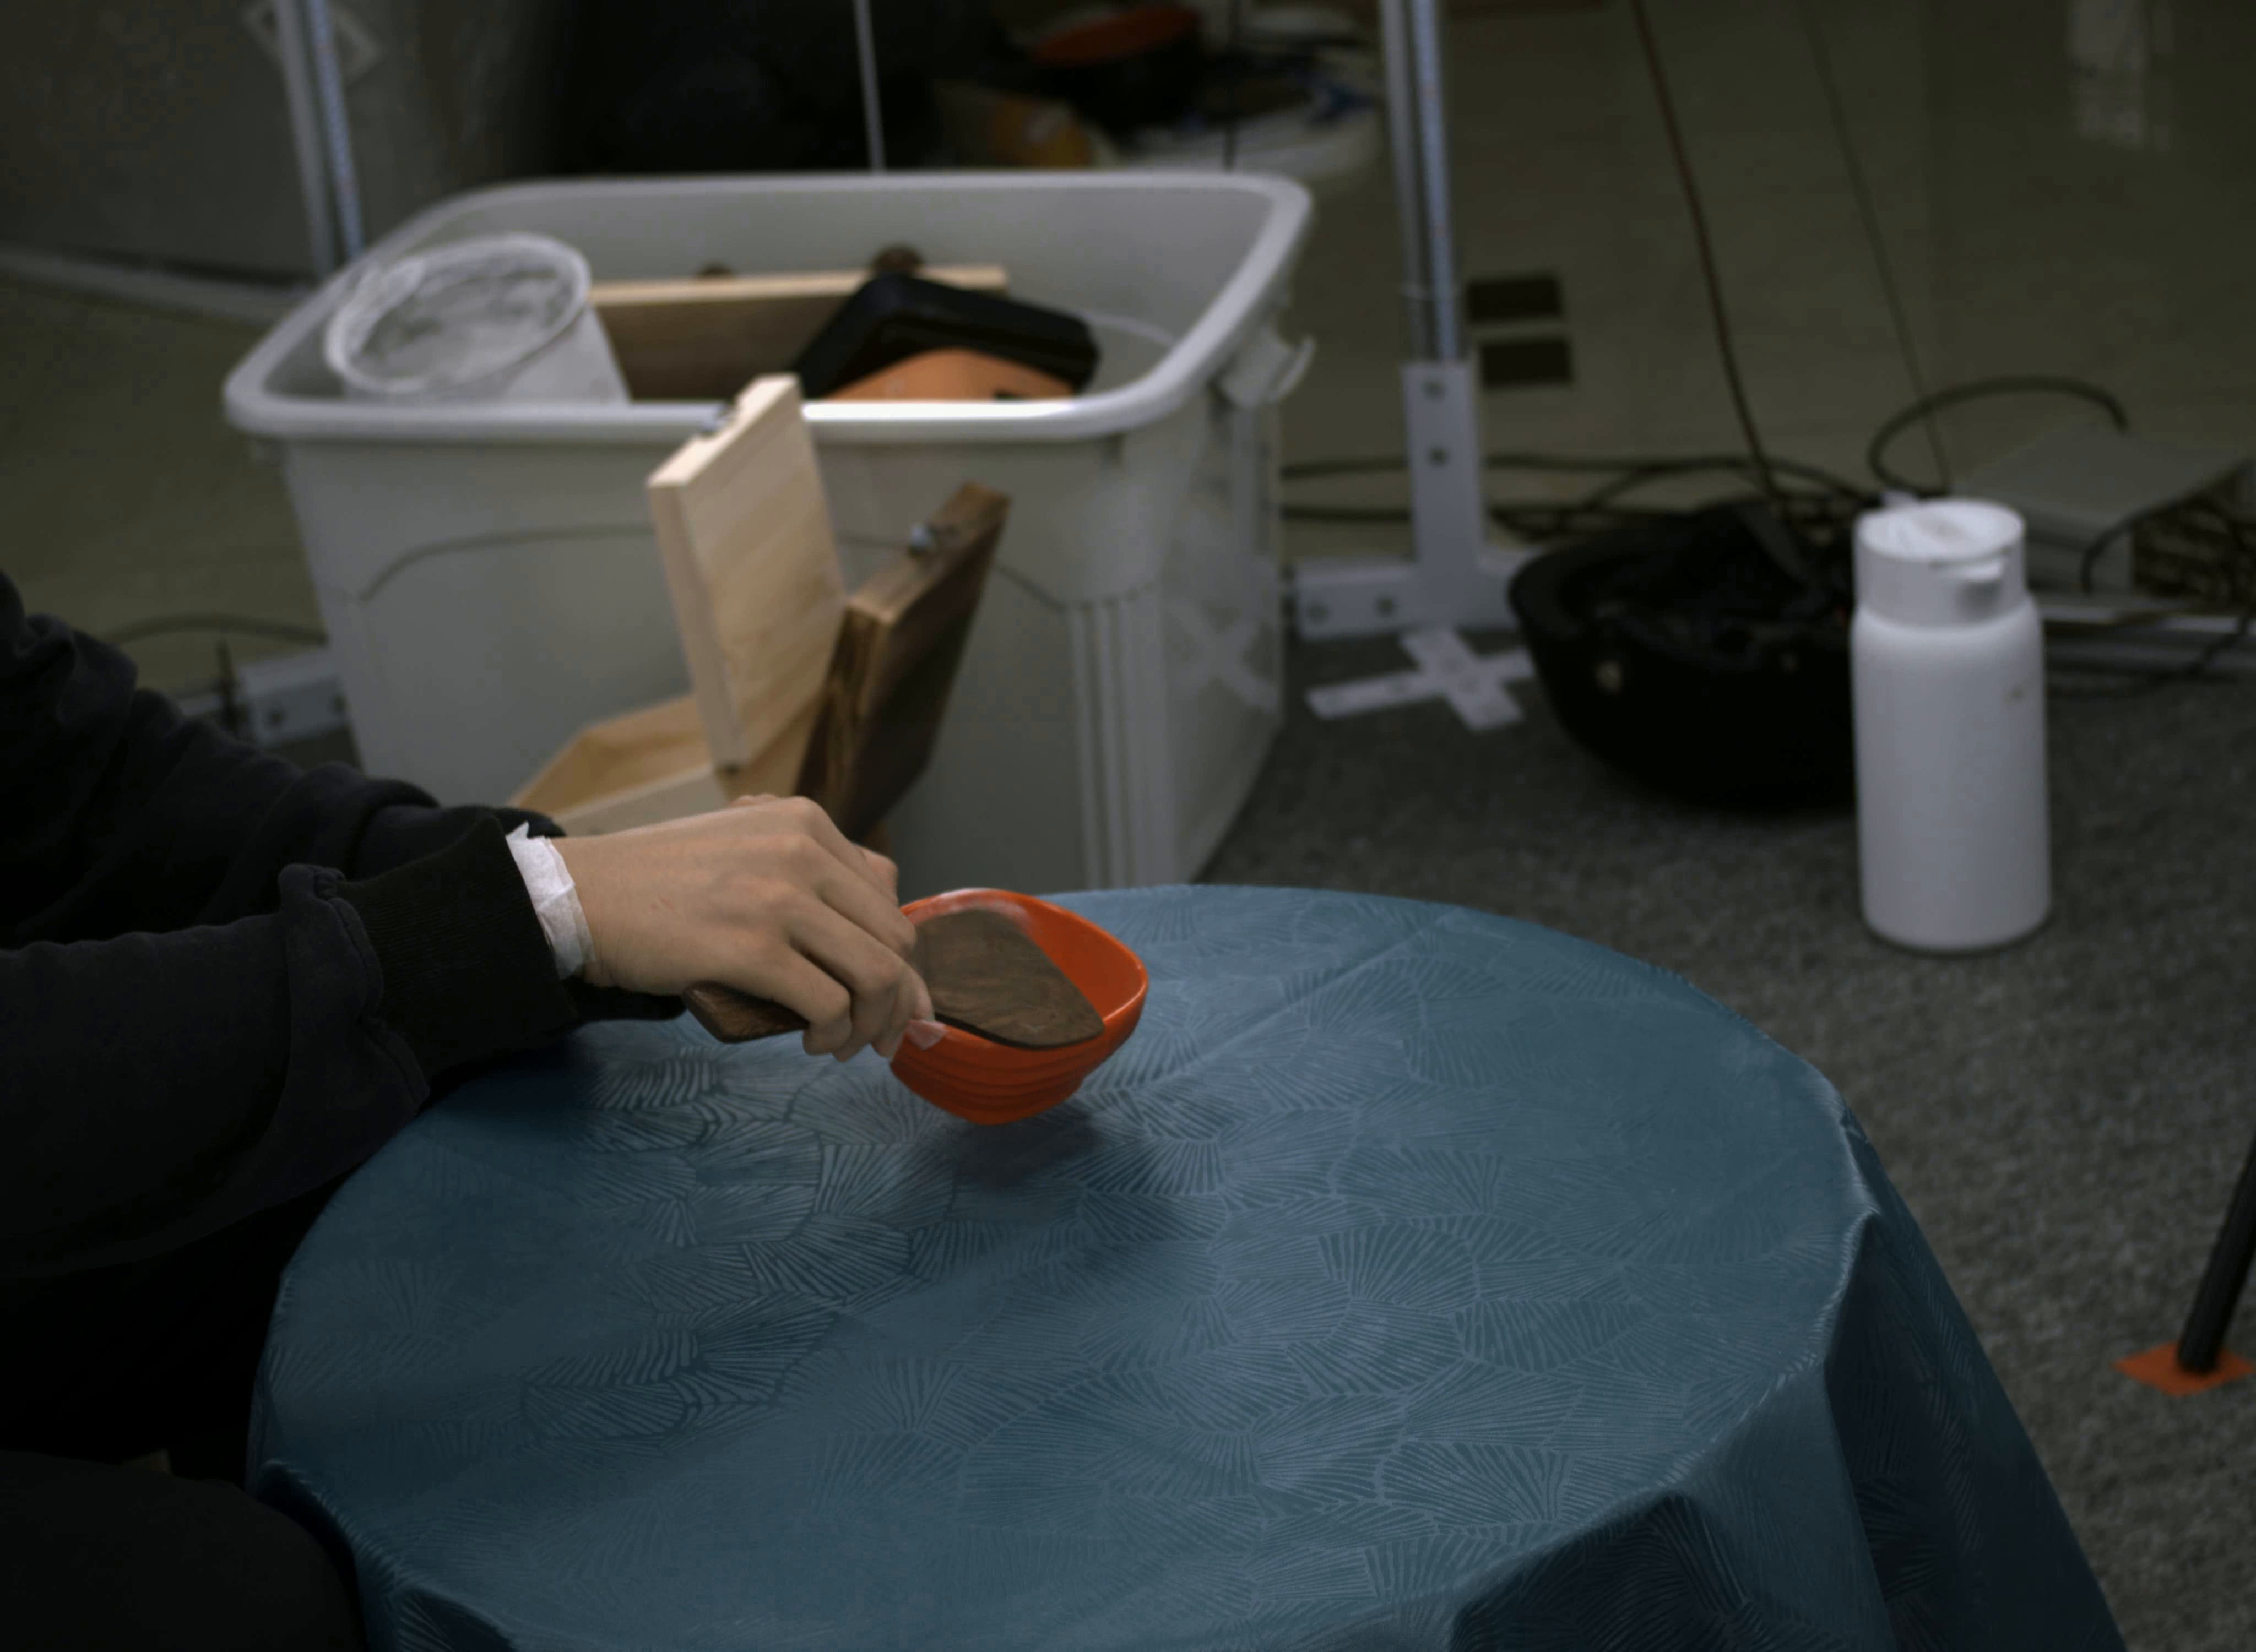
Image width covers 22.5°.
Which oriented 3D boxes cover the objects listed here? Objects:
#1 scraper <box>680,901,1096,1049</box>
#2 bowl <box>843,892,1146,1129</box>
[{"bbox_3d":[-0.091,0.060,2.066,0.075,0.011,0.211,47,26,23],"label":"scraper"},{"bbox_3d":[-0.055,0.077,2.209,0.119,0.052,0.117,8,30,-4],"label":"bowl"}]
